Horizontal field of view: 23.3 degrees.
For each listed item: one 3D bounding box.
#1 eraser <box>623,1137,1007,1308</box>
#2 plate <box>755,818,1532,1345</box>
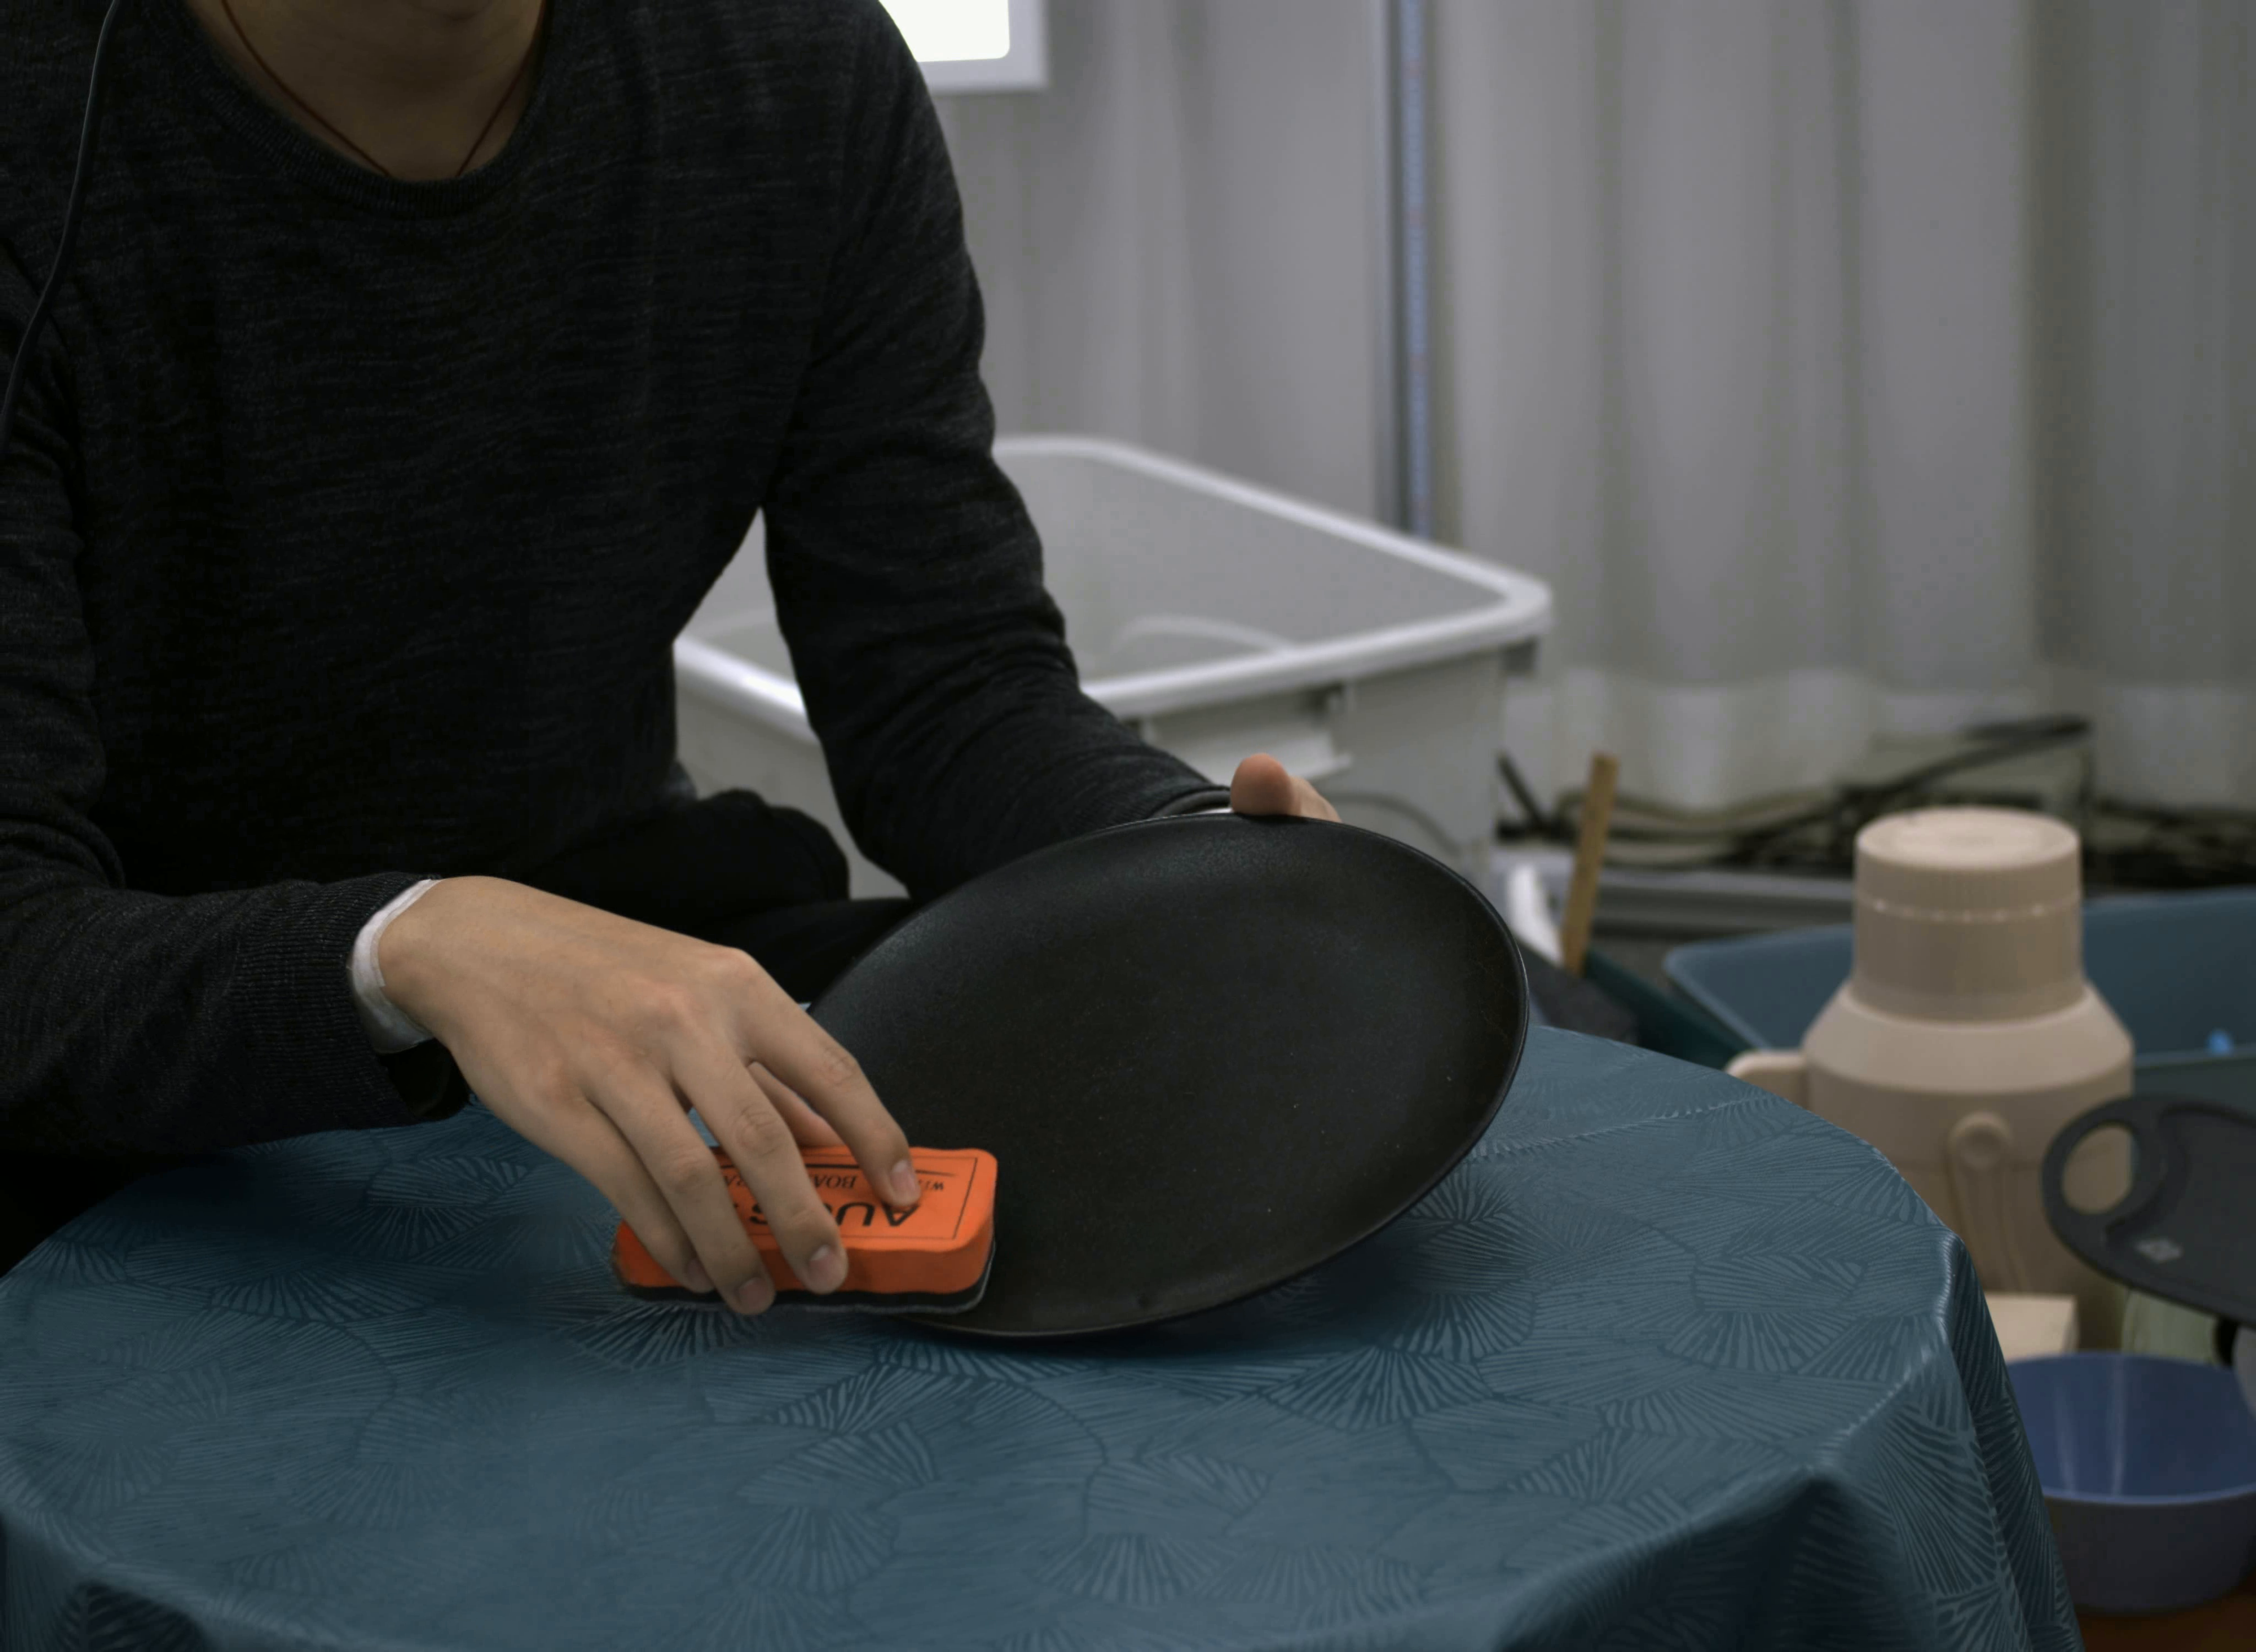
[{"bbox_3d":[-0.092,0.117,1.619,0.108,0.022,0.059,1,28,10],"label":"eraser"},{"bbox_3d":[0.006,0.080,1.668,0.244,0.023,0.248,-11,35,8],"label":"plate"}]
